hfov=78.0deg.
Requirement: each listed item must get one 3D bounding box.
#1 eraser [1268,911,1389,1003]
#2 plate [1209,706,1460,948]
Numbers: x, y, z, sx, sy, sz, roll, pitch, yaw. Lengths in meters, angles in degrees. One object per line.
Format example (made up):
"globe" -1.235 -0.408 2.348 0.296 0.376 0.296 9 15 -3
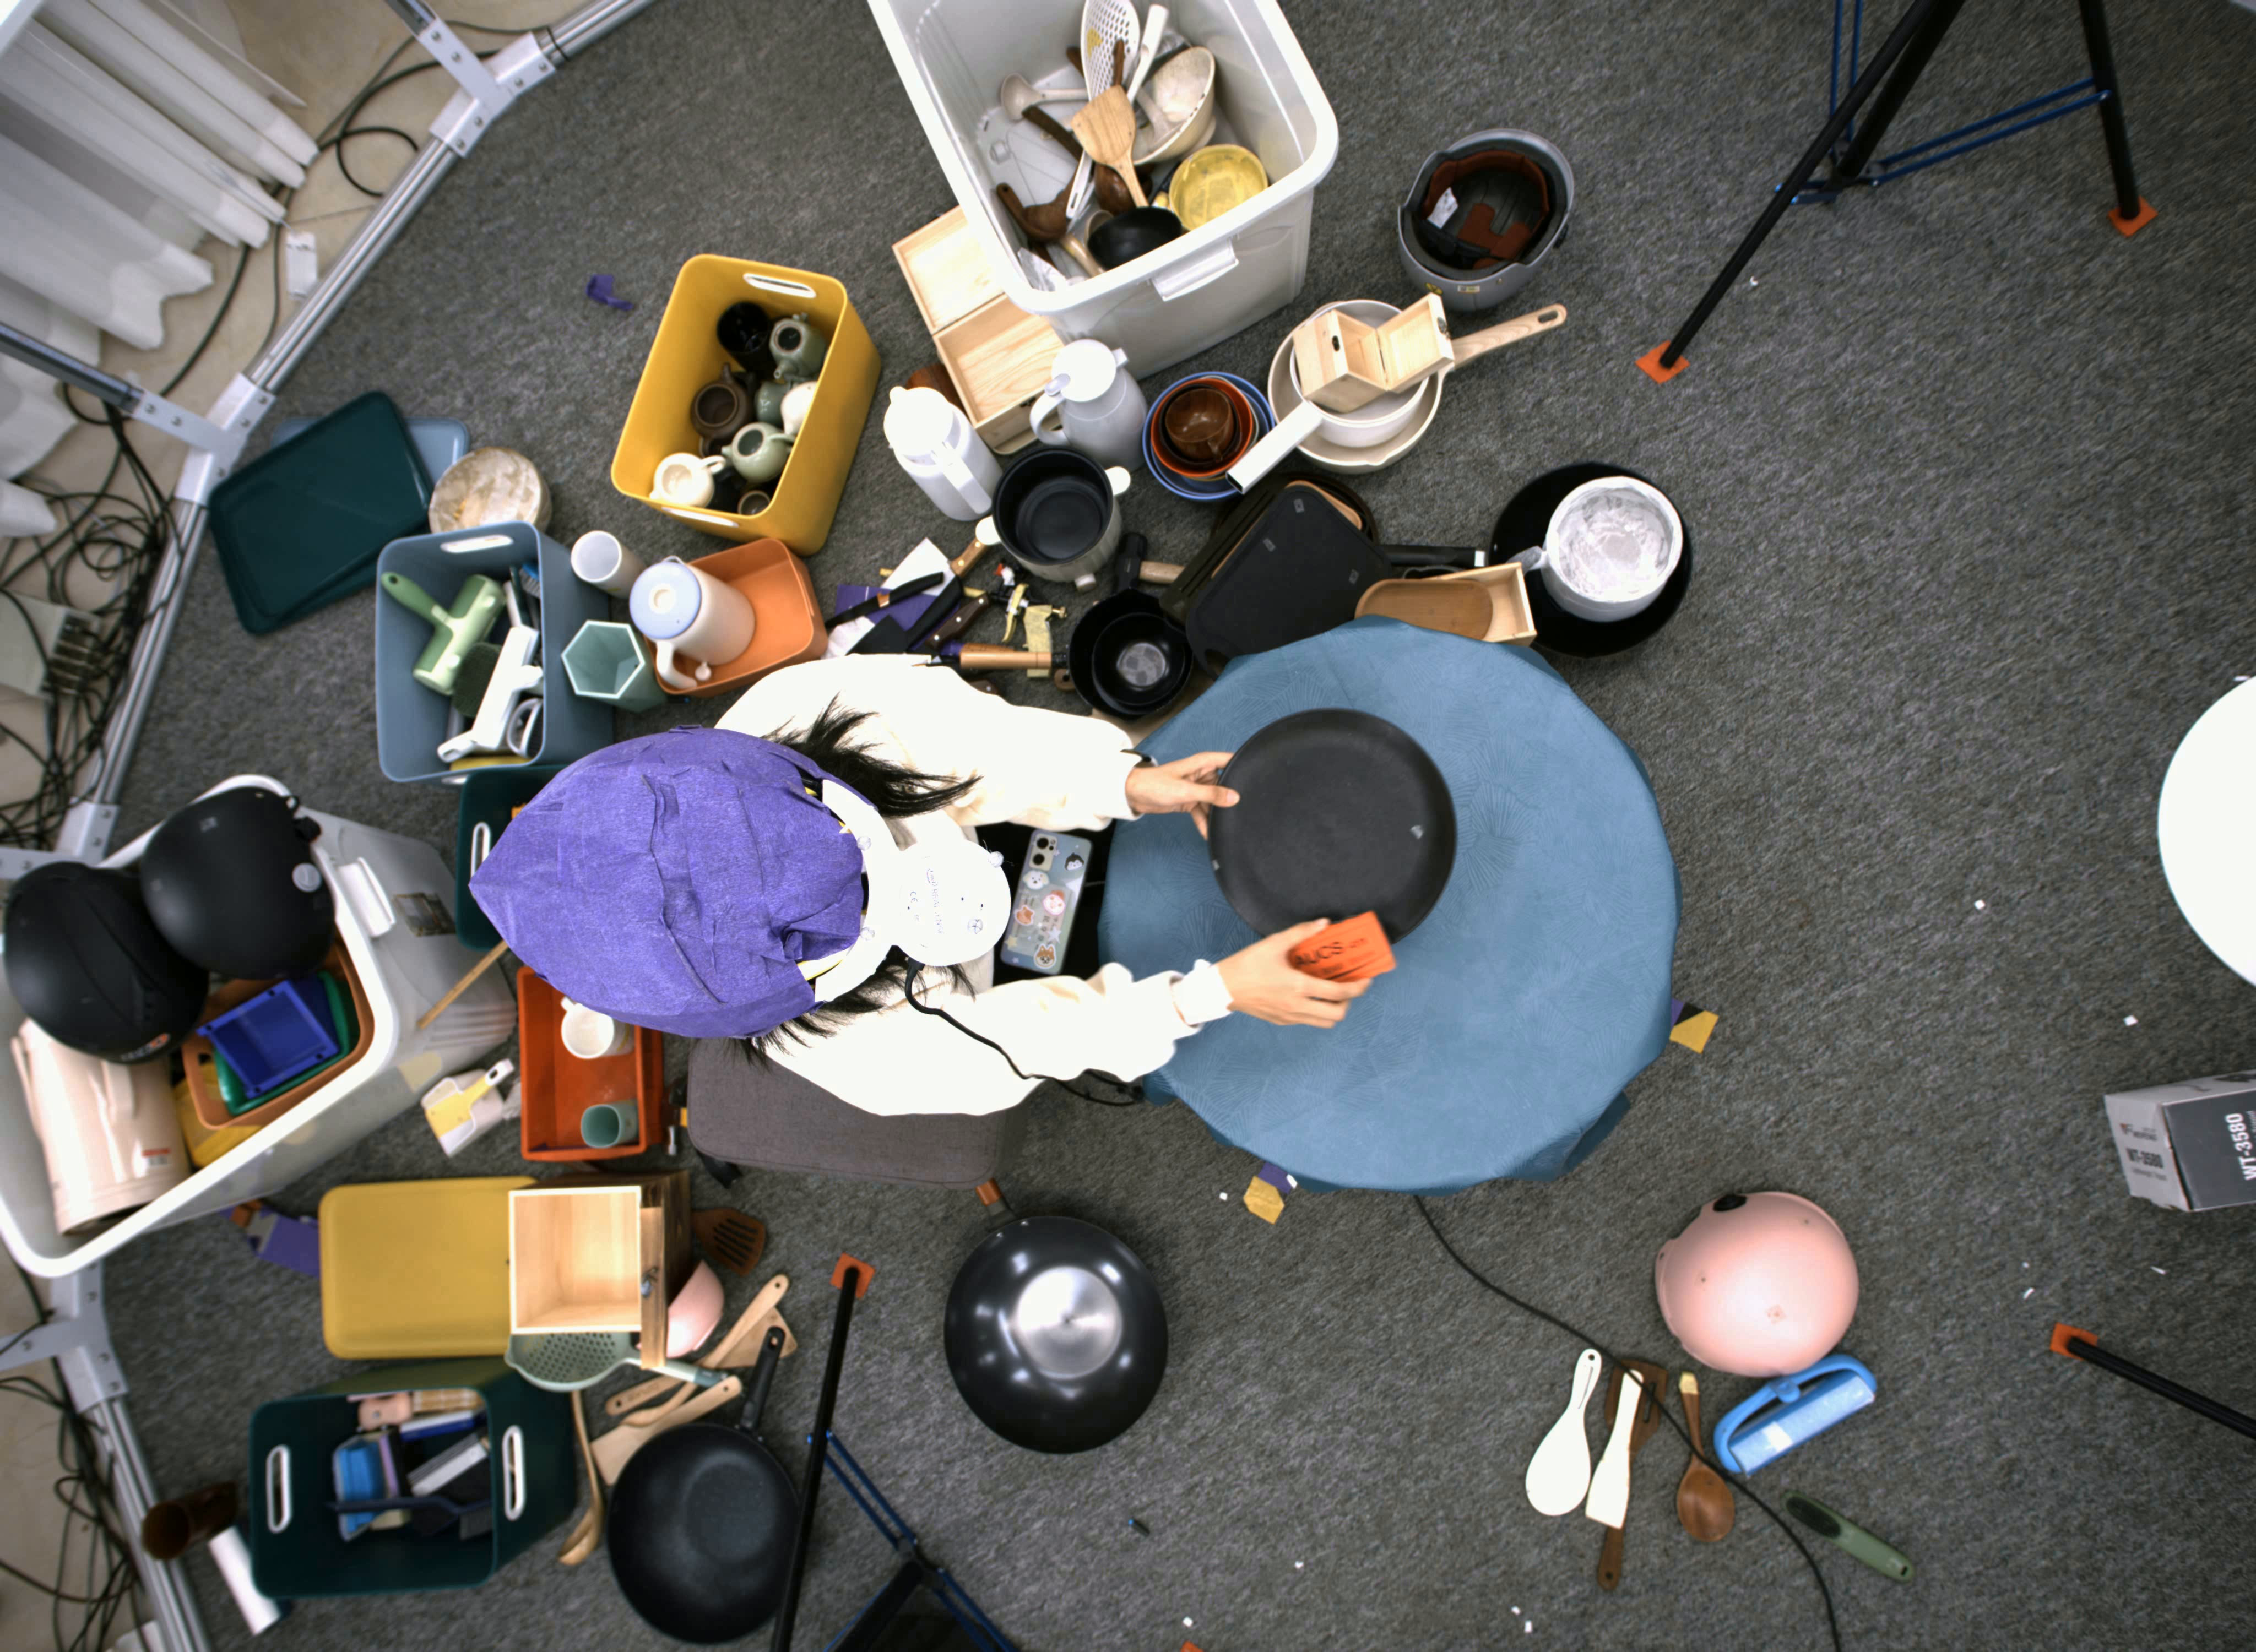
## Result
"eraser" 0.192 0.125 1.328 0.109 0.022 0.059 -23 100 22
"plate" 0.198 0.005 1.339 0.245 0.023 0.245 2 96 19
